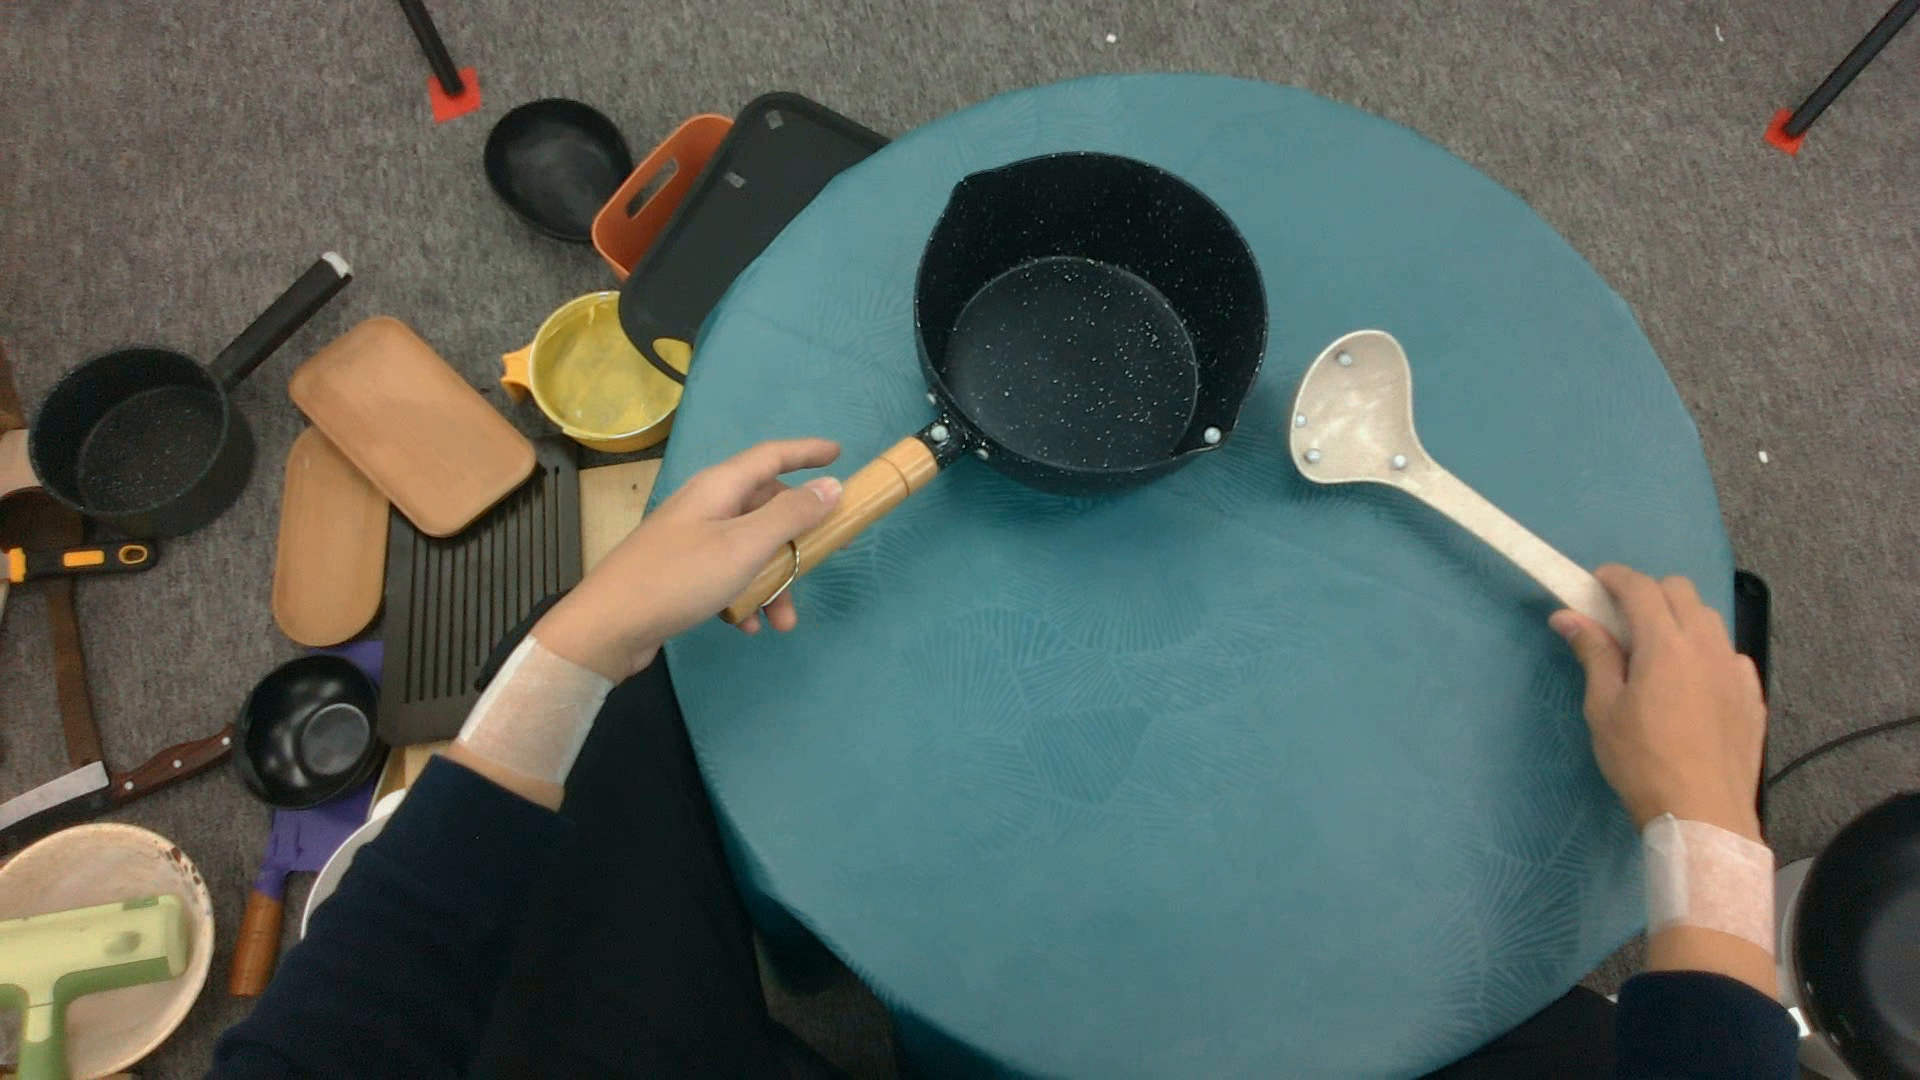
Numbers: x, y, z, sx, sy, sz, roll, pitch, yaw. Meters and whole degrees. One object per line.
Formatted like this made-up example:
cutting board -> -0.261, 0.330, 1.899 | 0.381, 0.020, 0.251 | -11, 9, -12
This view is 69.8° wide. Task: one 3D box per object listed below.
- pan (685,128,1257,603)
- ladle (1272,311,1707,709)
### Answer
pan -> 0.002, -0.071, 0.715 | 0.344, 0.108, 0.207 | -42, 80, -16
ladle -> 0.281, -0.012, 0.715 | 0.275, 0.069, 0.089 | 41, 80, 15
